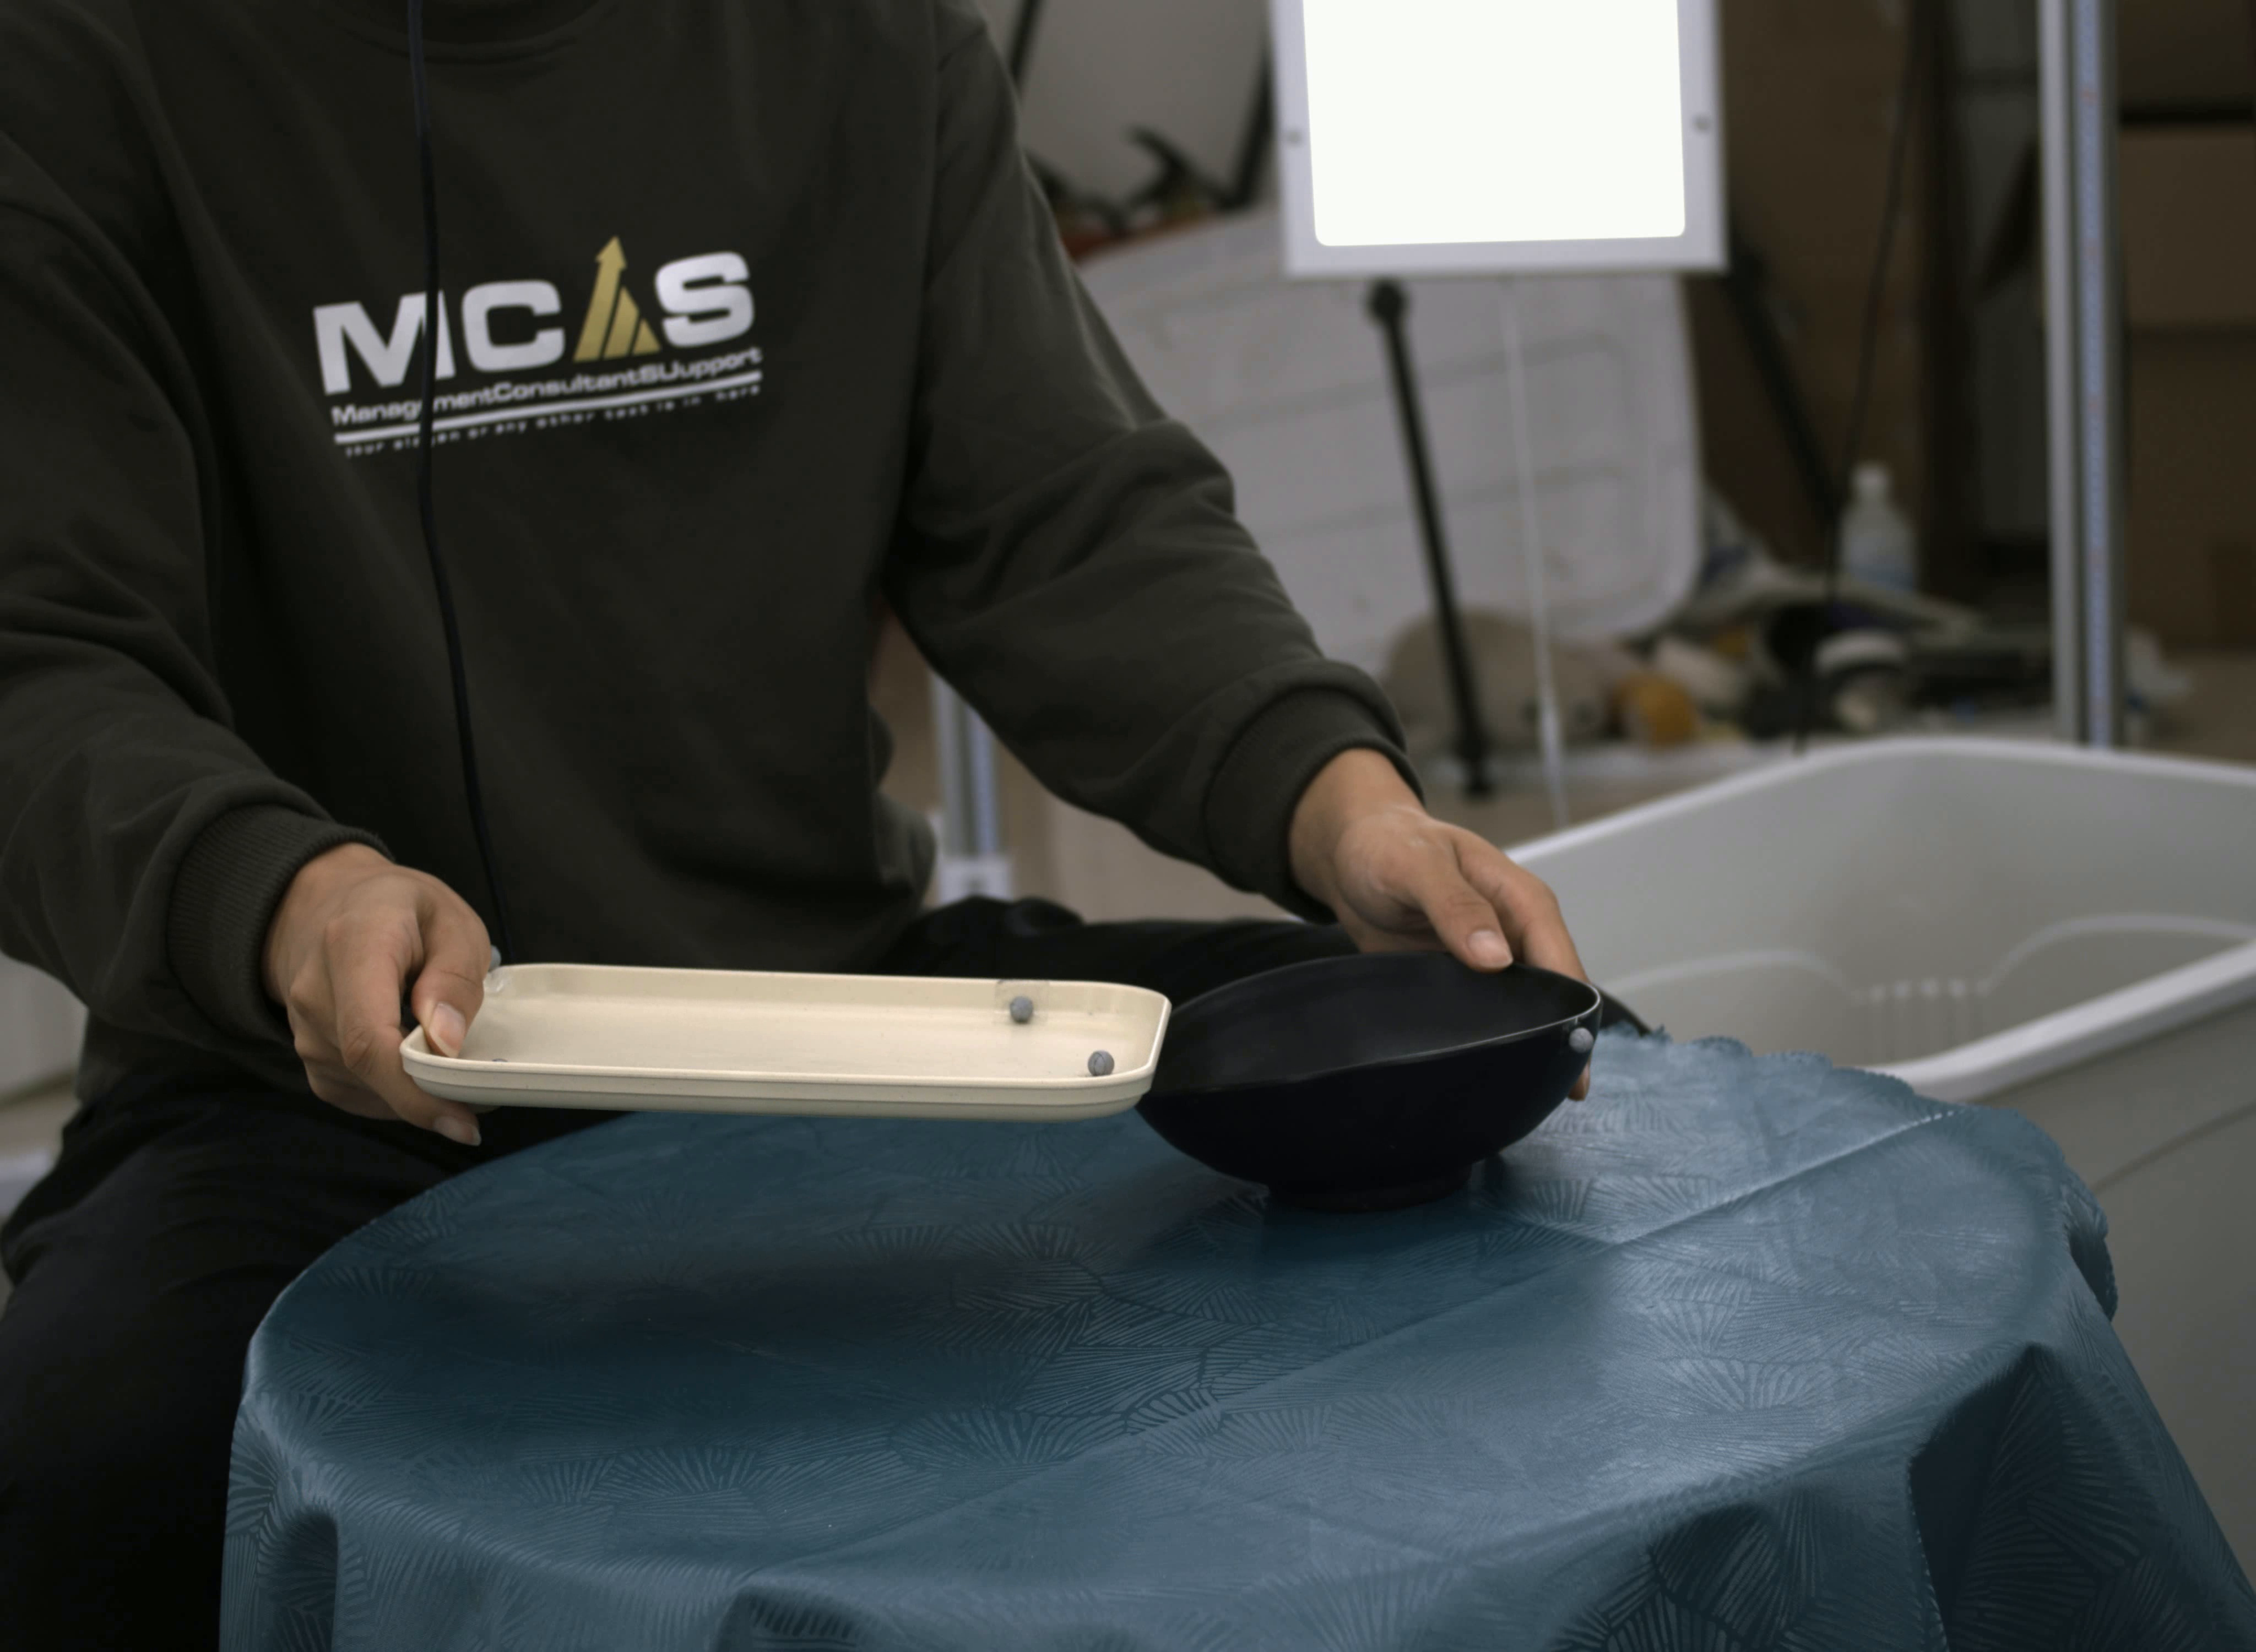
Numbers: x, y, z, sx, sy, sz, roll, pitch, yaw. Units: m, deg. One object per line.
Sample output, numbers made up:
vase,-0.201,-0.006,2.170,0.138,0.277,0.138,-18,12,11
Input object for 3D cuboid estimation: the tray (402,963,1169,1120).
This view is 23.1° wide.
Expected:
tray,-0.108,0.070,1.788,0.240,0.017,0.170,1,9,5

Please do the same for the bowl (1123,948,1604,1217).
bowl,0.084,0.093,1.879,0.168,0.067,0.139,-11,13,-14
